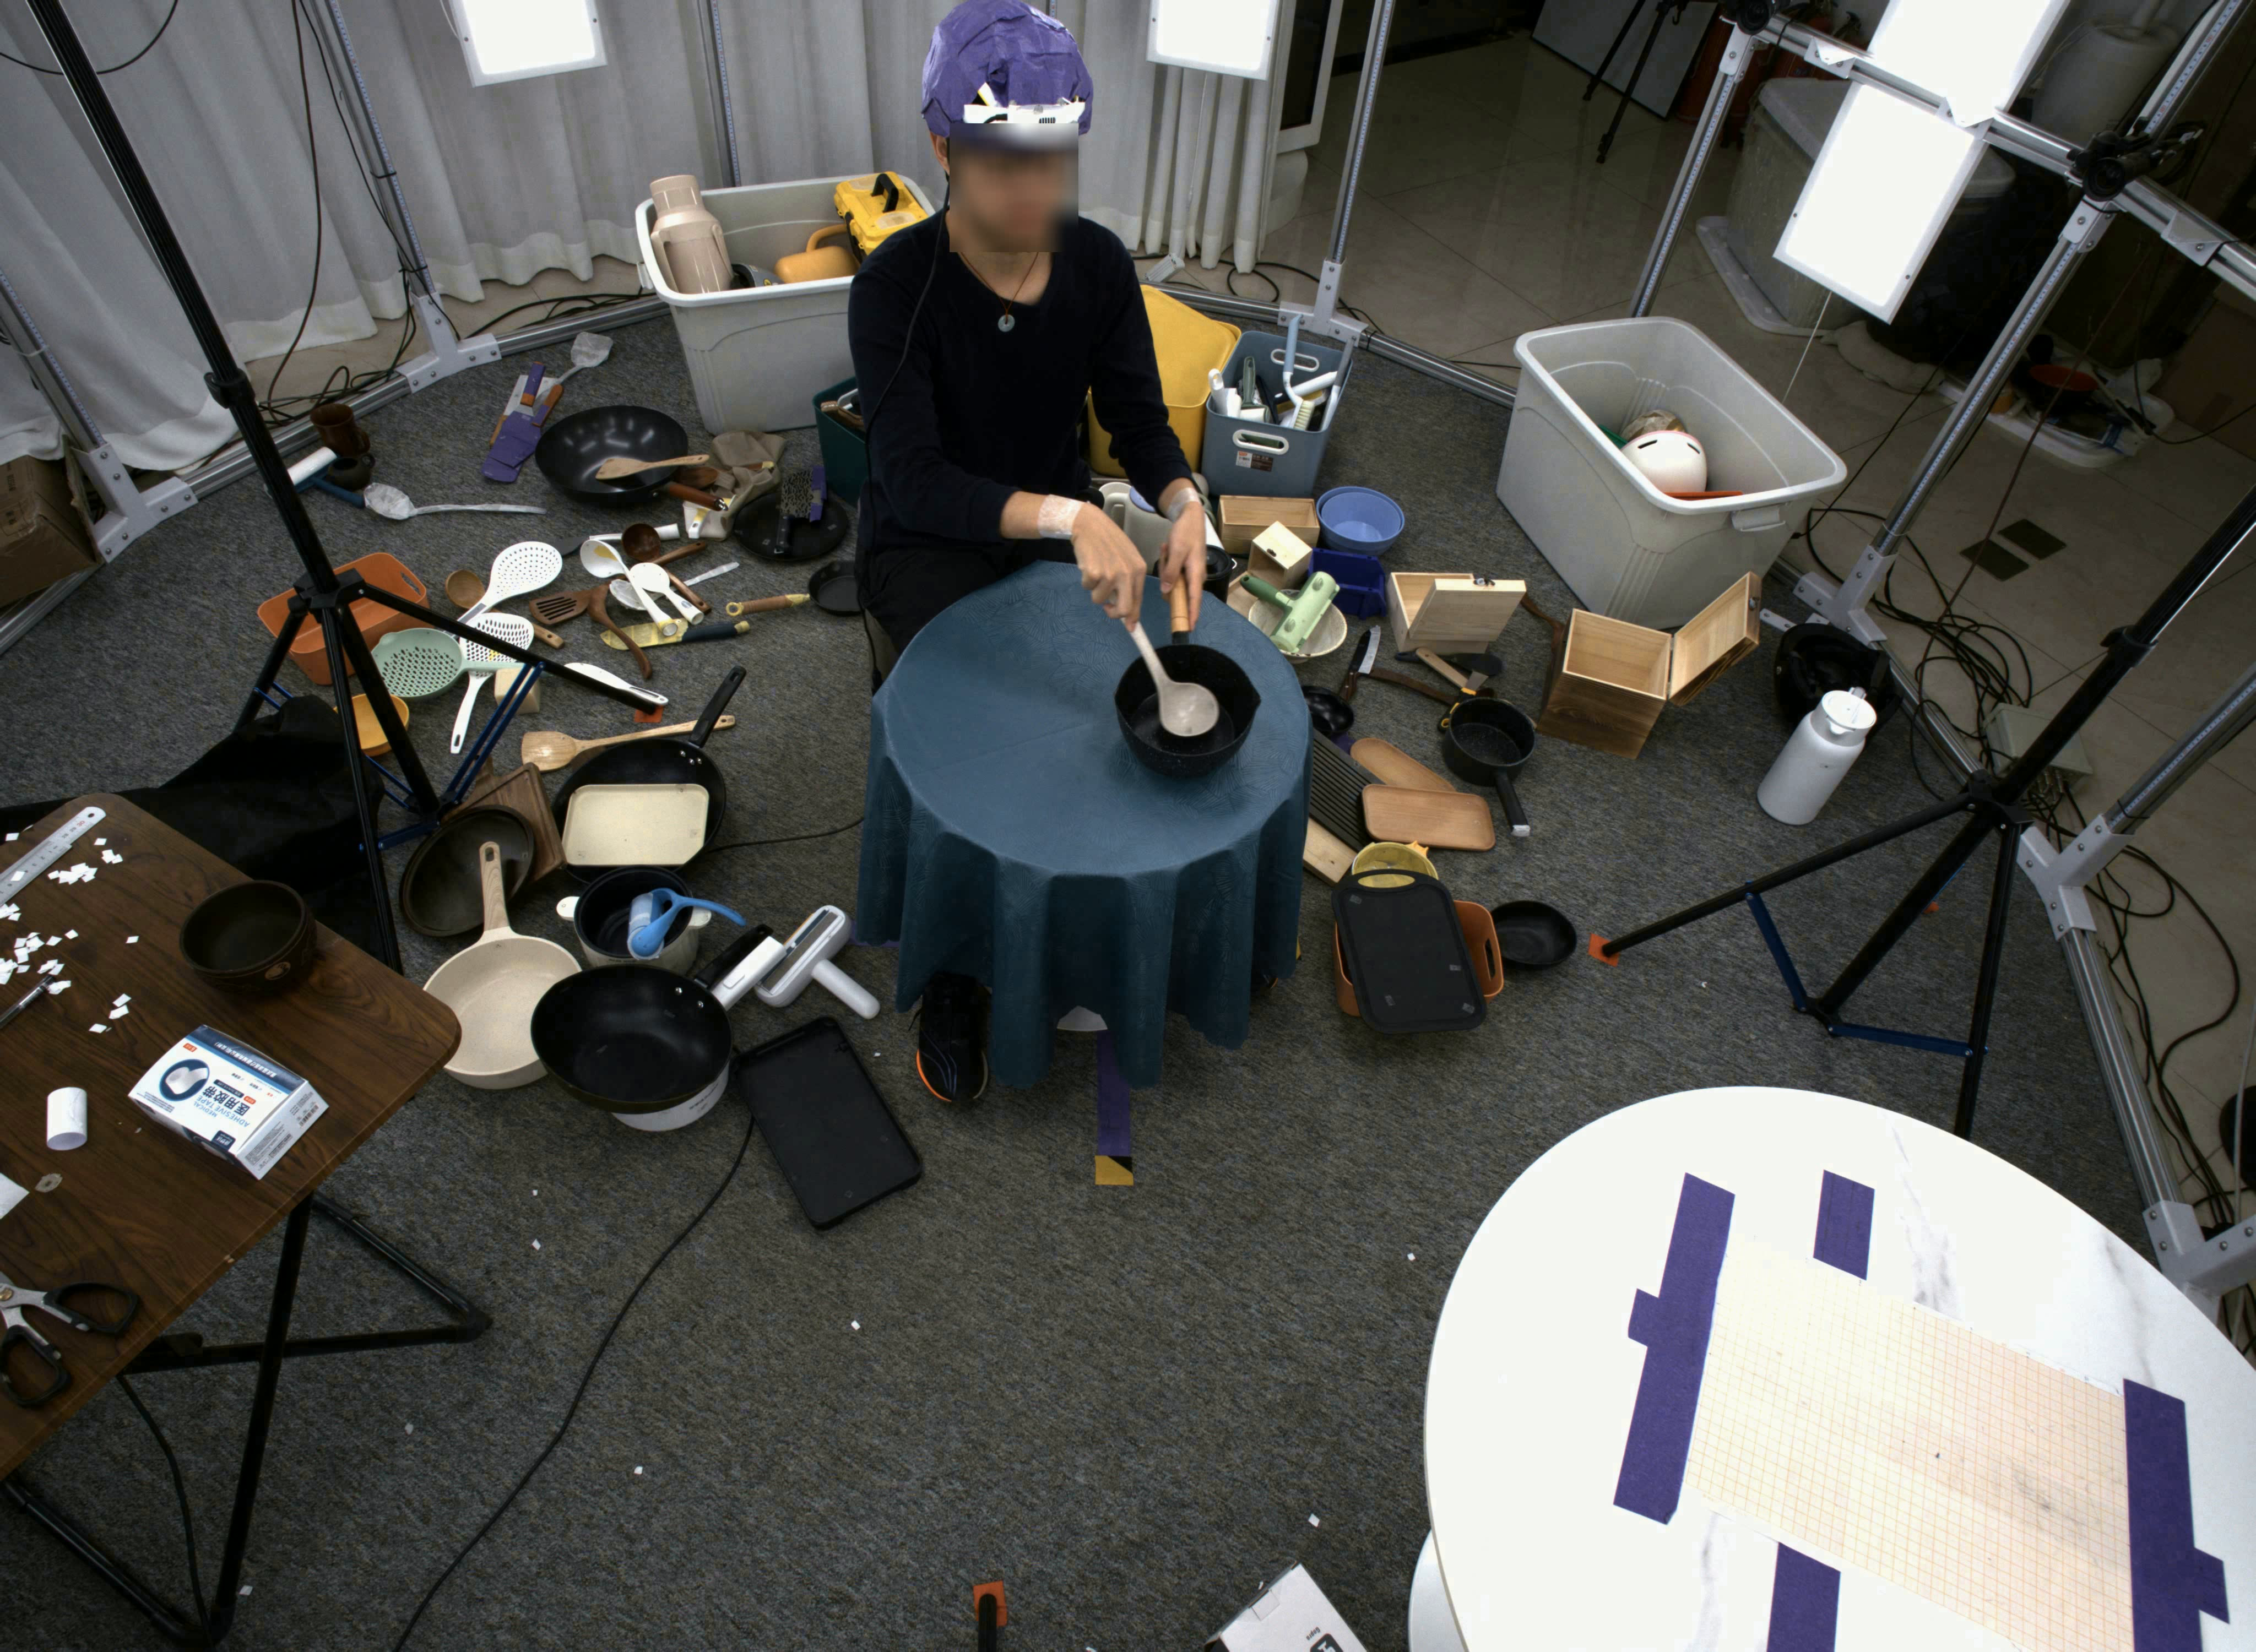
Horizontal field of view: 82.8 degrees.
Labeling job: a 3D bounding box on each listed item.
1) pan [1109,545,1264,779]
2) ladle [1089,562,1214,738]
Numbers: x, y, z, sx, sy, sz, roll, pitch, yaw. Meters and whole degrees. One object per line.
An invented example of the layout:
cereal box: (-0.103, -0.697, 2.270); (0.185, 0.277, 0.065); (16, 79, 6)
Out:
pan: (0.074, -0.224, 1.768); (0.207, 0.106, 0.350); (-2, 60, -2)
ladle: (0.031, -0.233, 1.693); (0.070, 0.269, 0.090); (16, 55, 46)
